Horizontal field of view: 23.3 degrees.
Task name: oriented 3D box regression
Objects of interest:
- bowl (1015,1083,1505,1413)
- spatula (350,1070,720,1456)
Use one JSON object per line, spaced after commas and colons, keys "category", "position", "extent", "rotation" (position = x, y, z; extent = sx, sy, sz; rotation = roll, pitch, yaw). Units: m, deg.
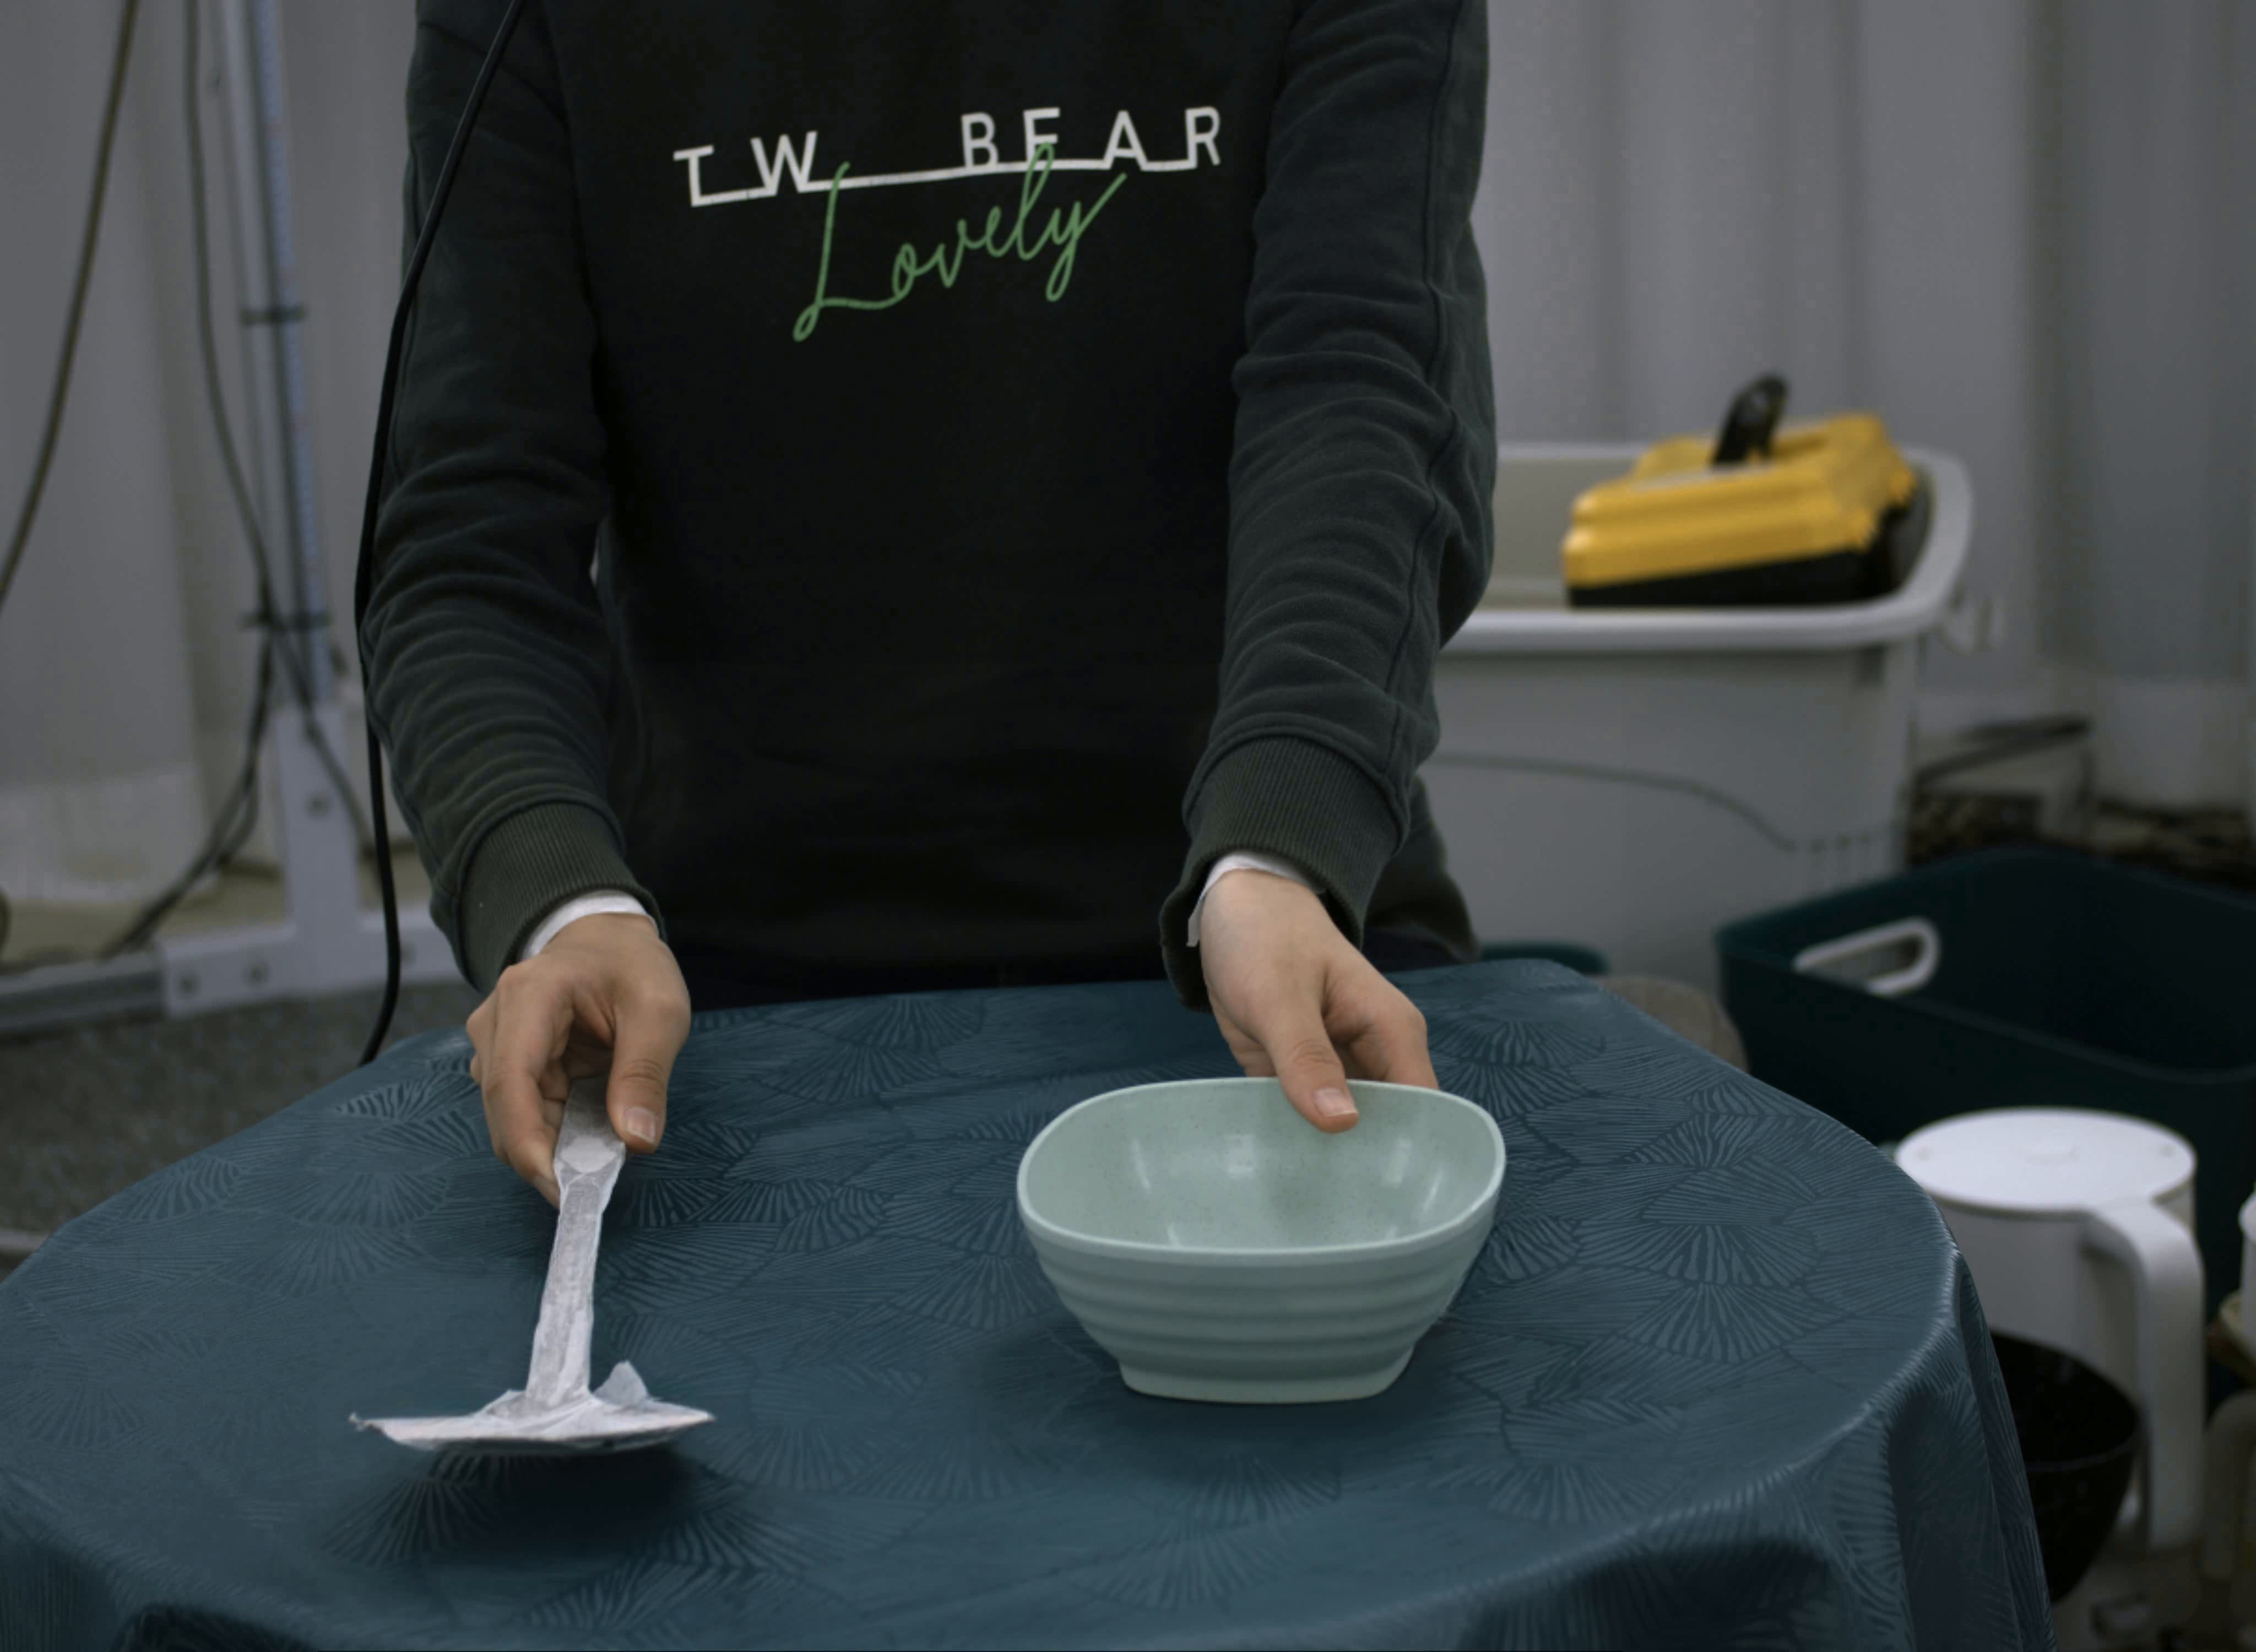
{"category": "bowl", "position": [0.038, 0.124, 1.560], "extent": [0.151, 0.058, 0.152], "rotation": [-1, 17, 0]}
{"category": "spatula", "position": [-0.159, 0.120, 1.606], "extent": [0.098, 0.044, 0.368], "rotation": [-2, 18, 0]}
